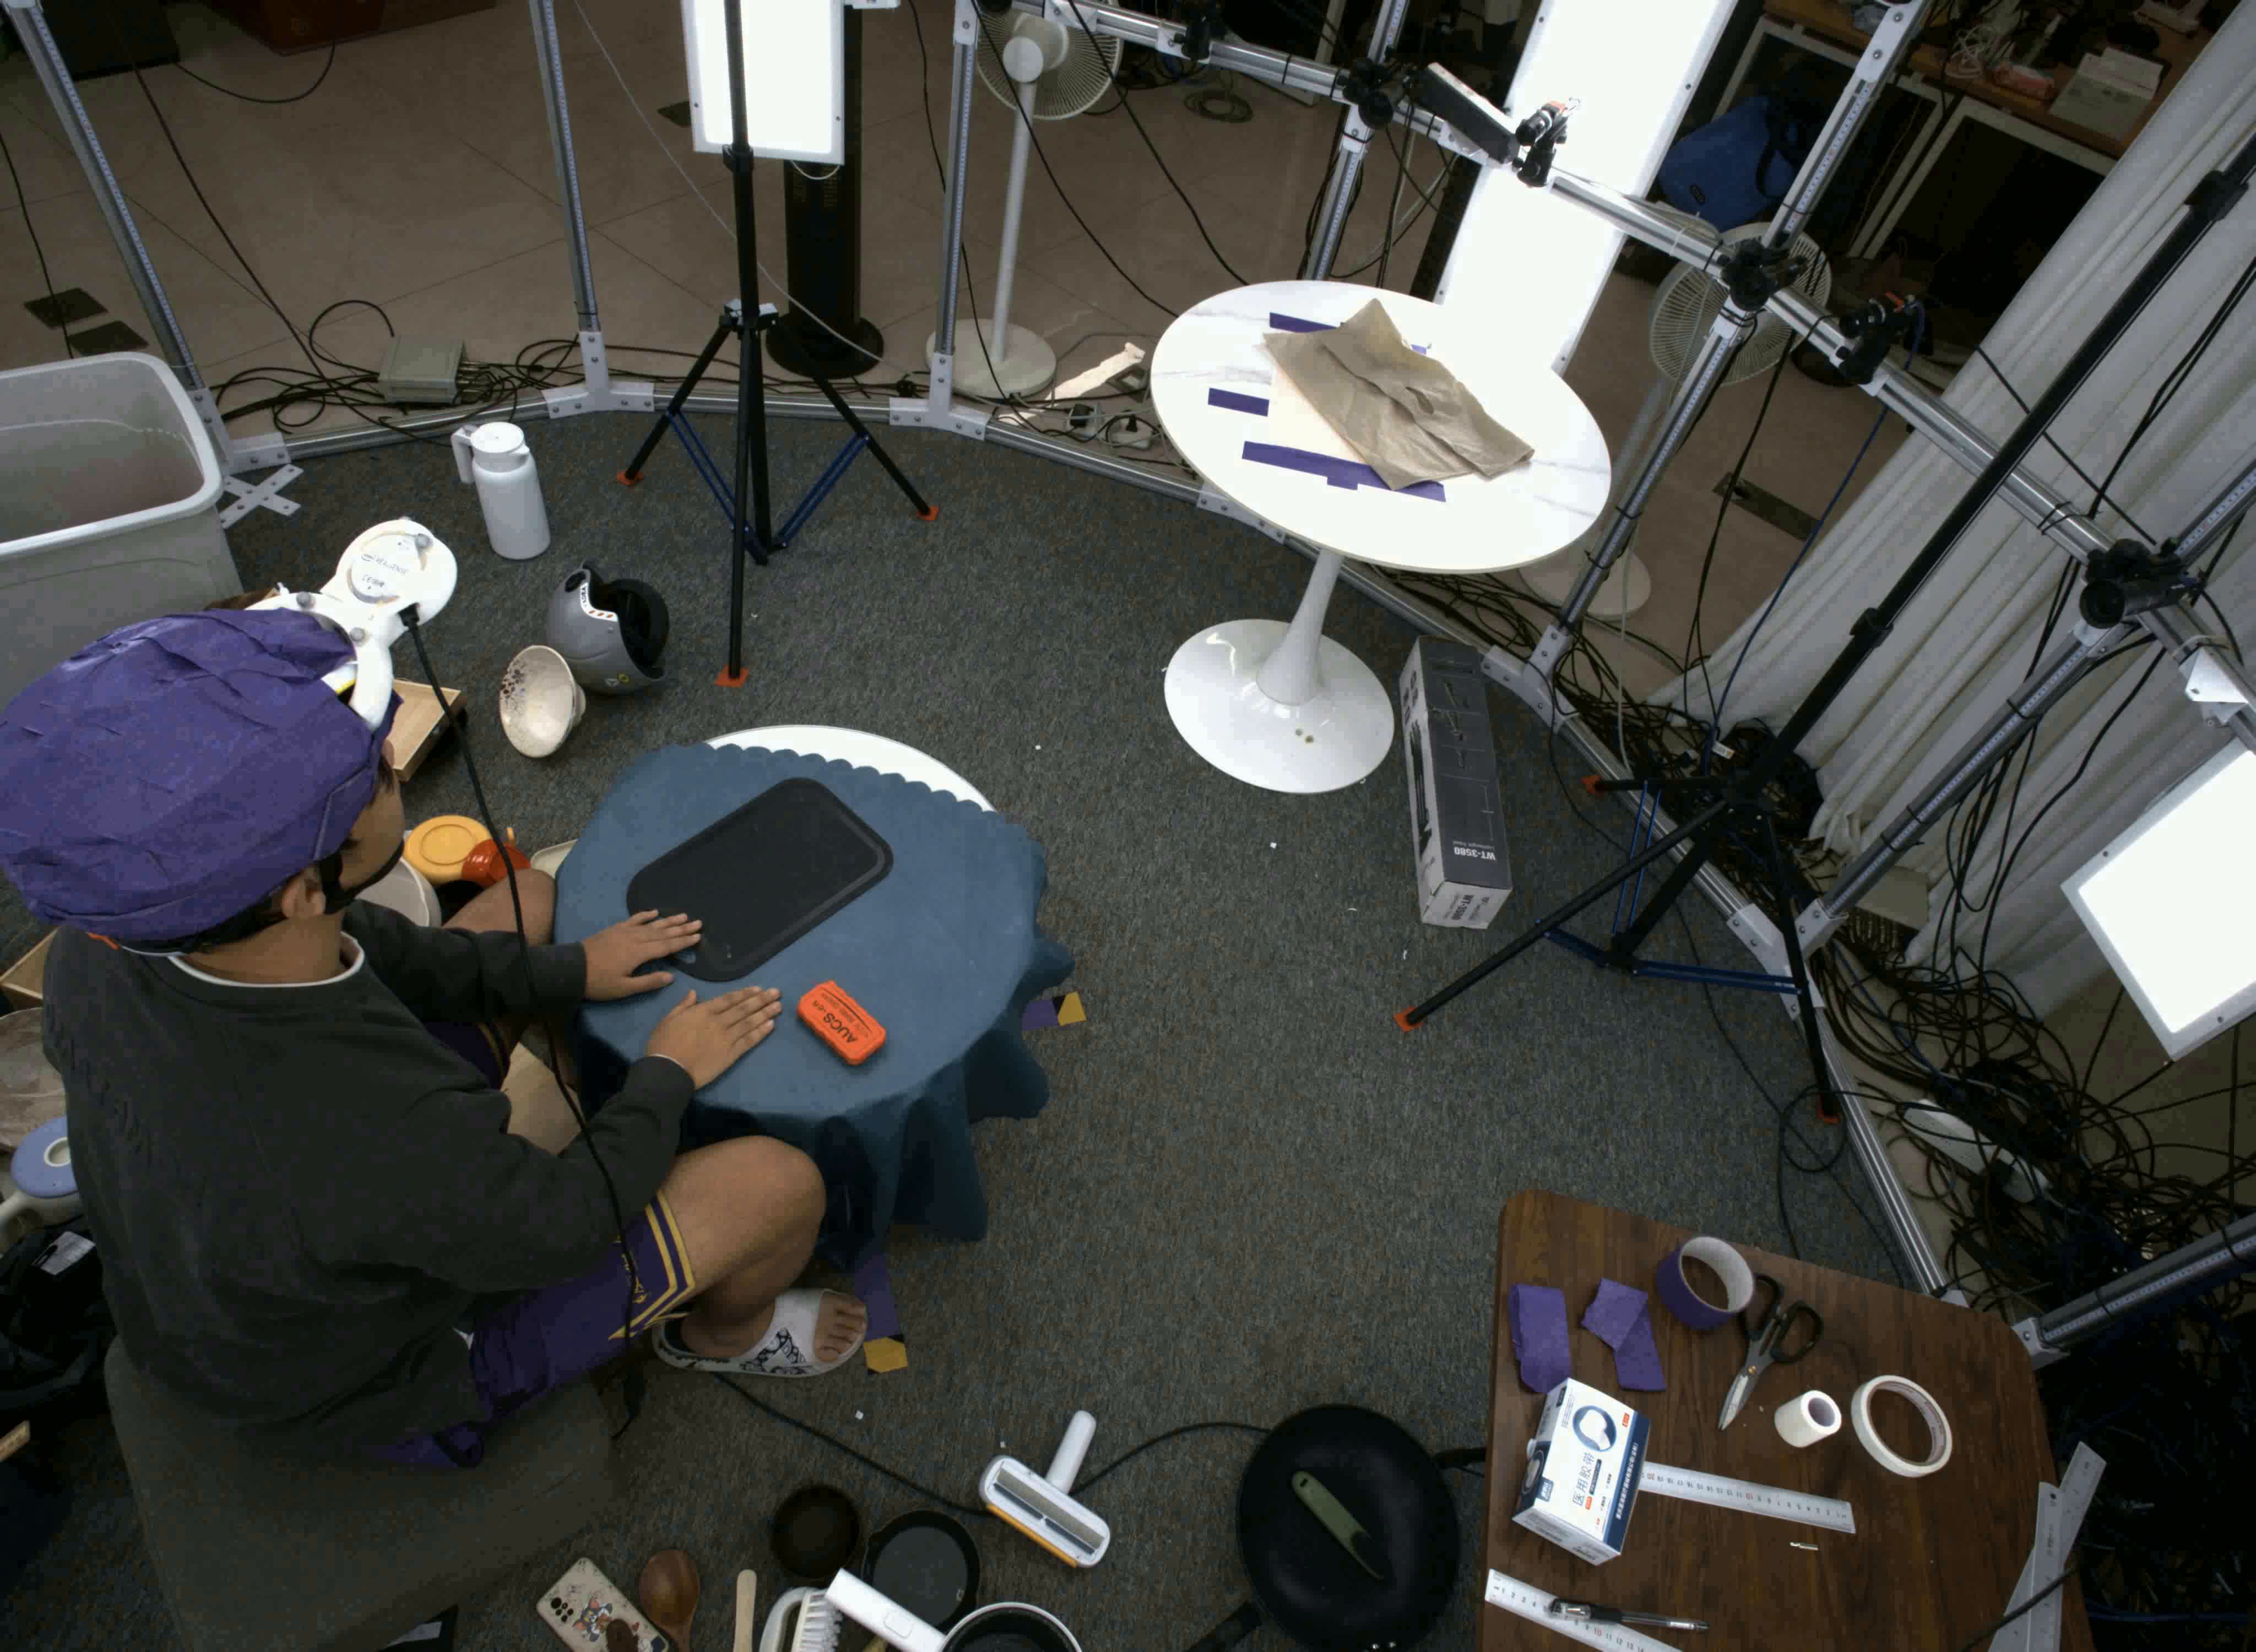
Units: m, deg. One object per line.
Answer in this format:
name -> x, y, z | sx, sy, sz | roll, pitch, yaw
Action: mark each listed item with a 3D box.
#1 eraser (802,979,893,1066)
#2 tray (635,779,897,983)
eraser -> -0.337, 0.233, 1.558 | 0.105, 0.023, 0.059 | 38, 53, 16
tray -> -0.468, 0.065, 1.665 | 0.206, 0.010, 0.326 | 41, 55, 17
